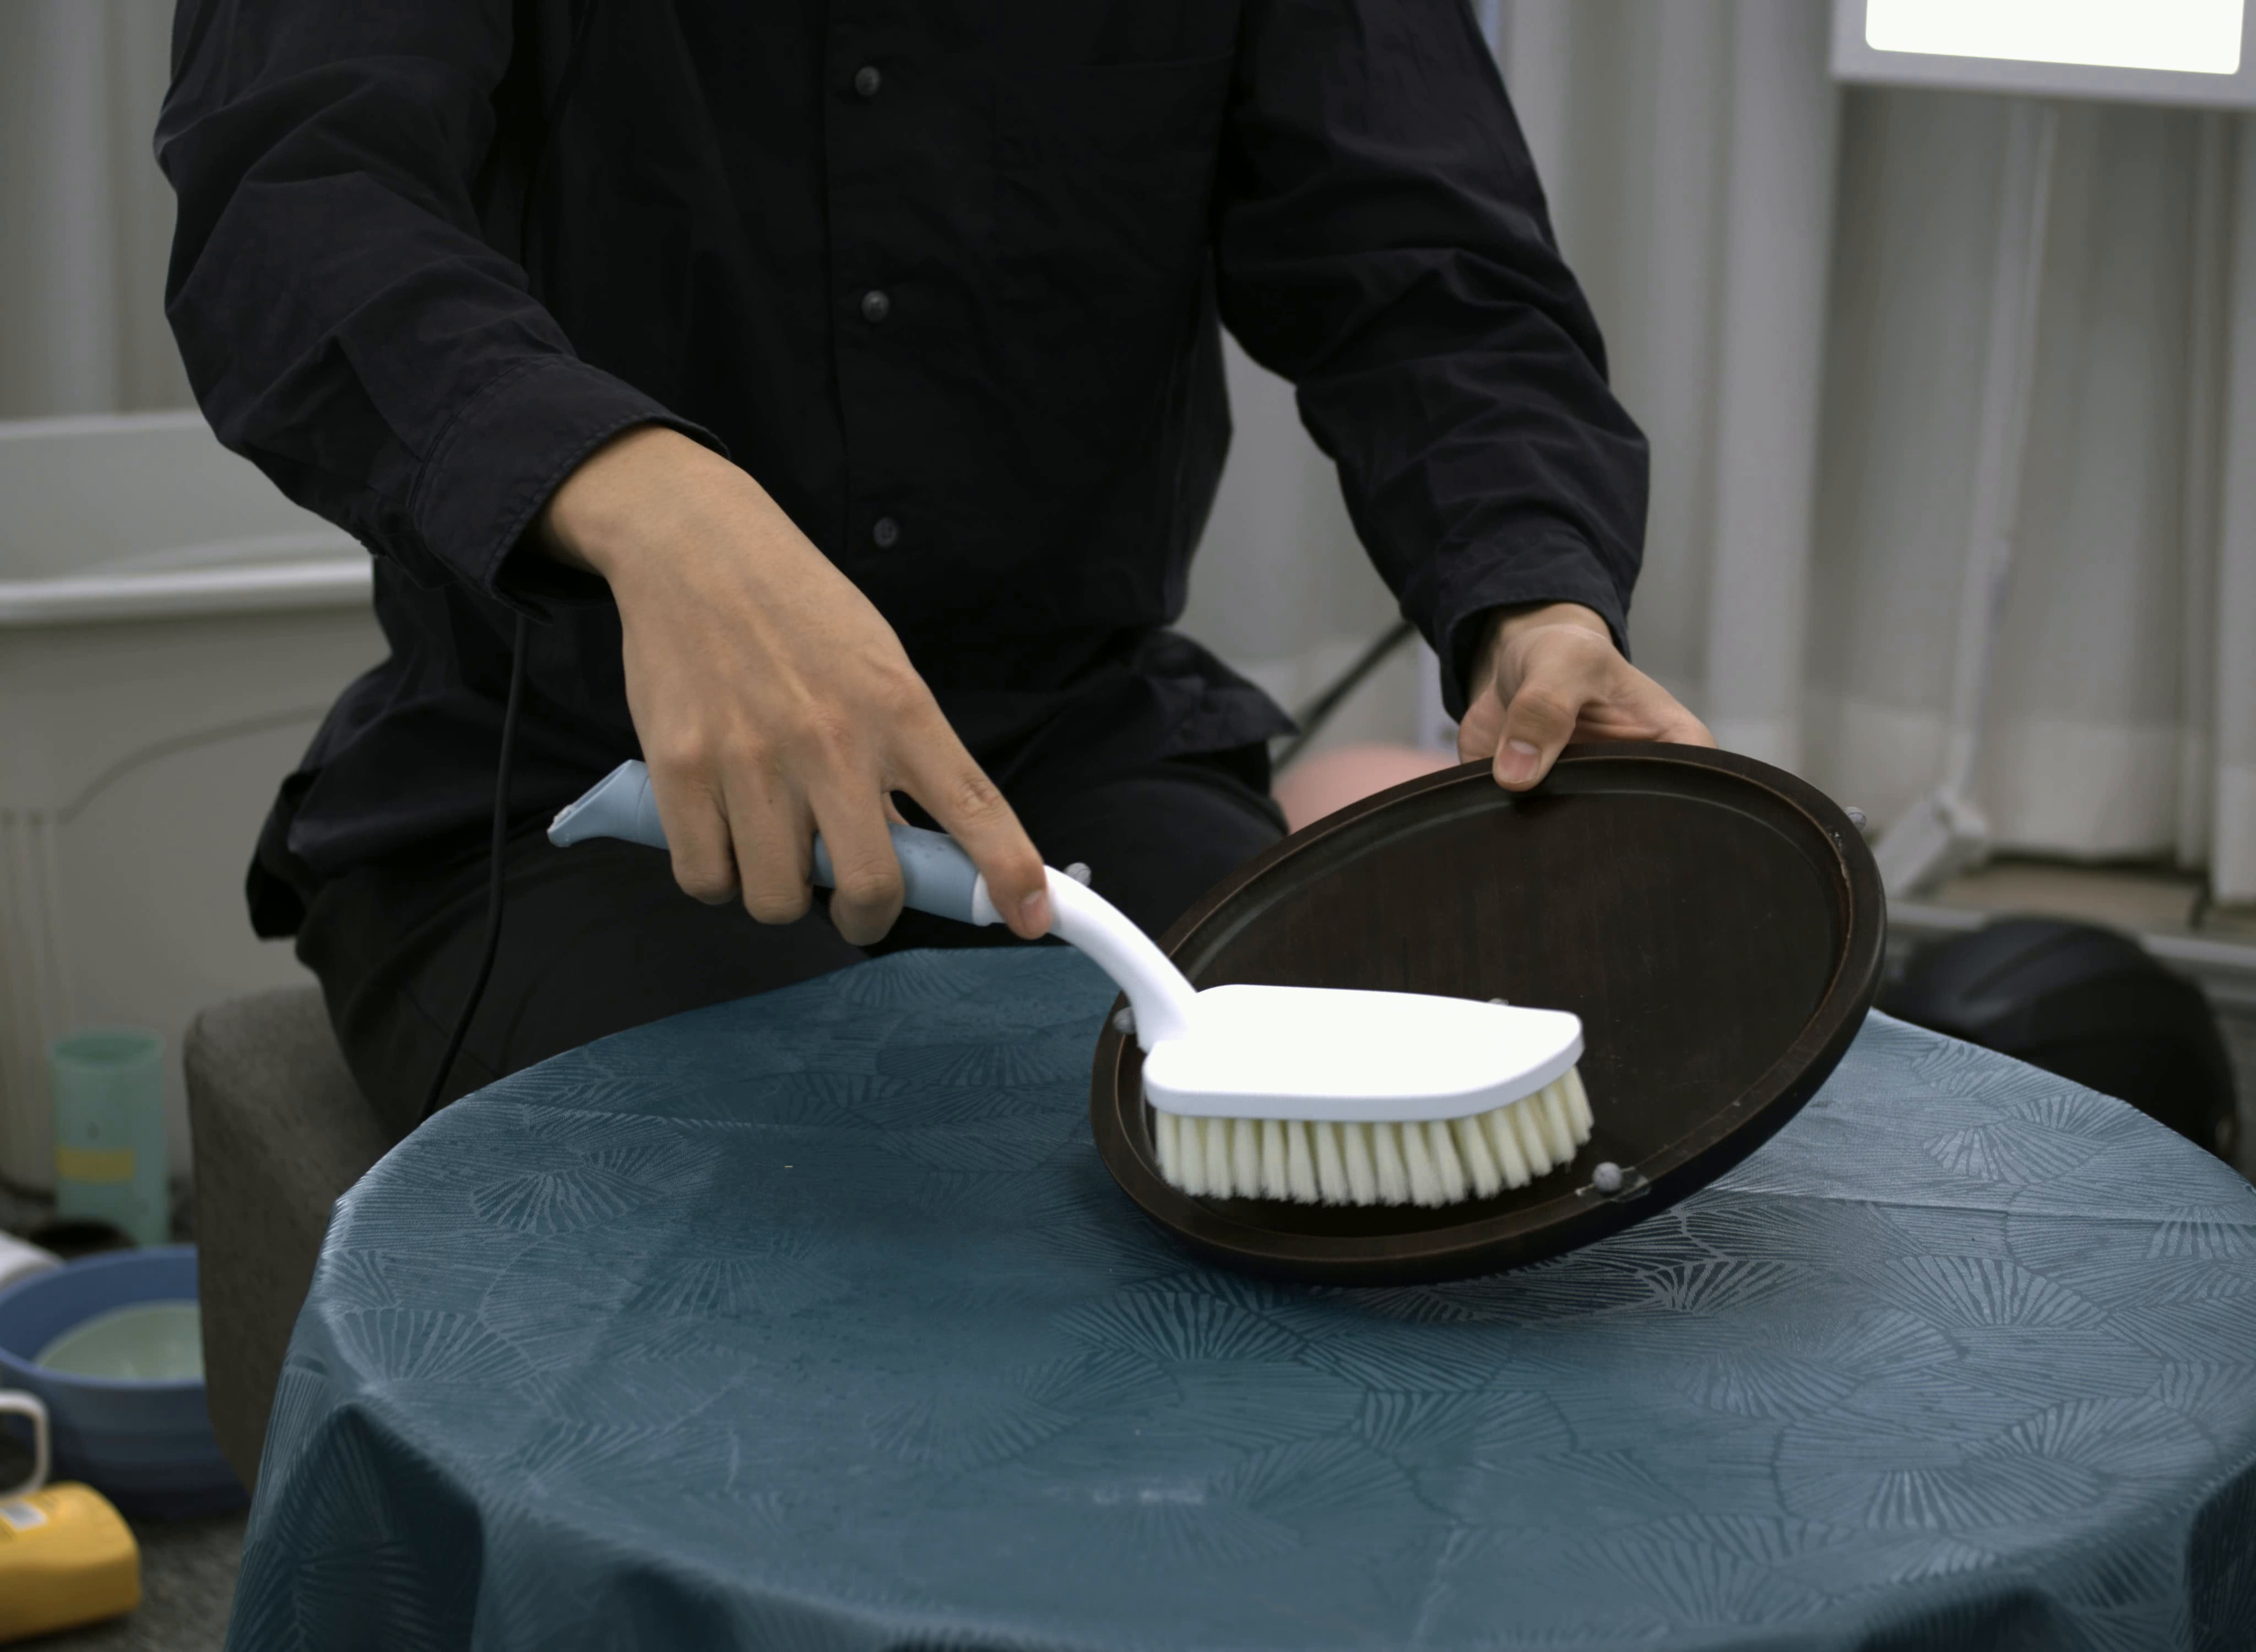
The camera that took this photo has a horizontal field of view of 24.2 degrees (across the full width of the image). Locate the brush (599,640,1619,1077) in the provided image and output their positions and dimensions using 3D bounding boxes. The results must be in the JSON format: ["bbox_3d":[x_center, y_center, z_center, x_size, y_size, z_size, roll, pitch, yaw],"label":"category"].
[{"bbox_3d":[-0.009,0.021,1.602,0.323,0.084,0.083,14,-9,11],"label":"brush"}]

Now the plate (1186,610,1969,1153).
[{"bbox_3d":[0.140,0.017,1.644,0.253,0.029,0.252,-17,32,11],"label":"plate"}]
